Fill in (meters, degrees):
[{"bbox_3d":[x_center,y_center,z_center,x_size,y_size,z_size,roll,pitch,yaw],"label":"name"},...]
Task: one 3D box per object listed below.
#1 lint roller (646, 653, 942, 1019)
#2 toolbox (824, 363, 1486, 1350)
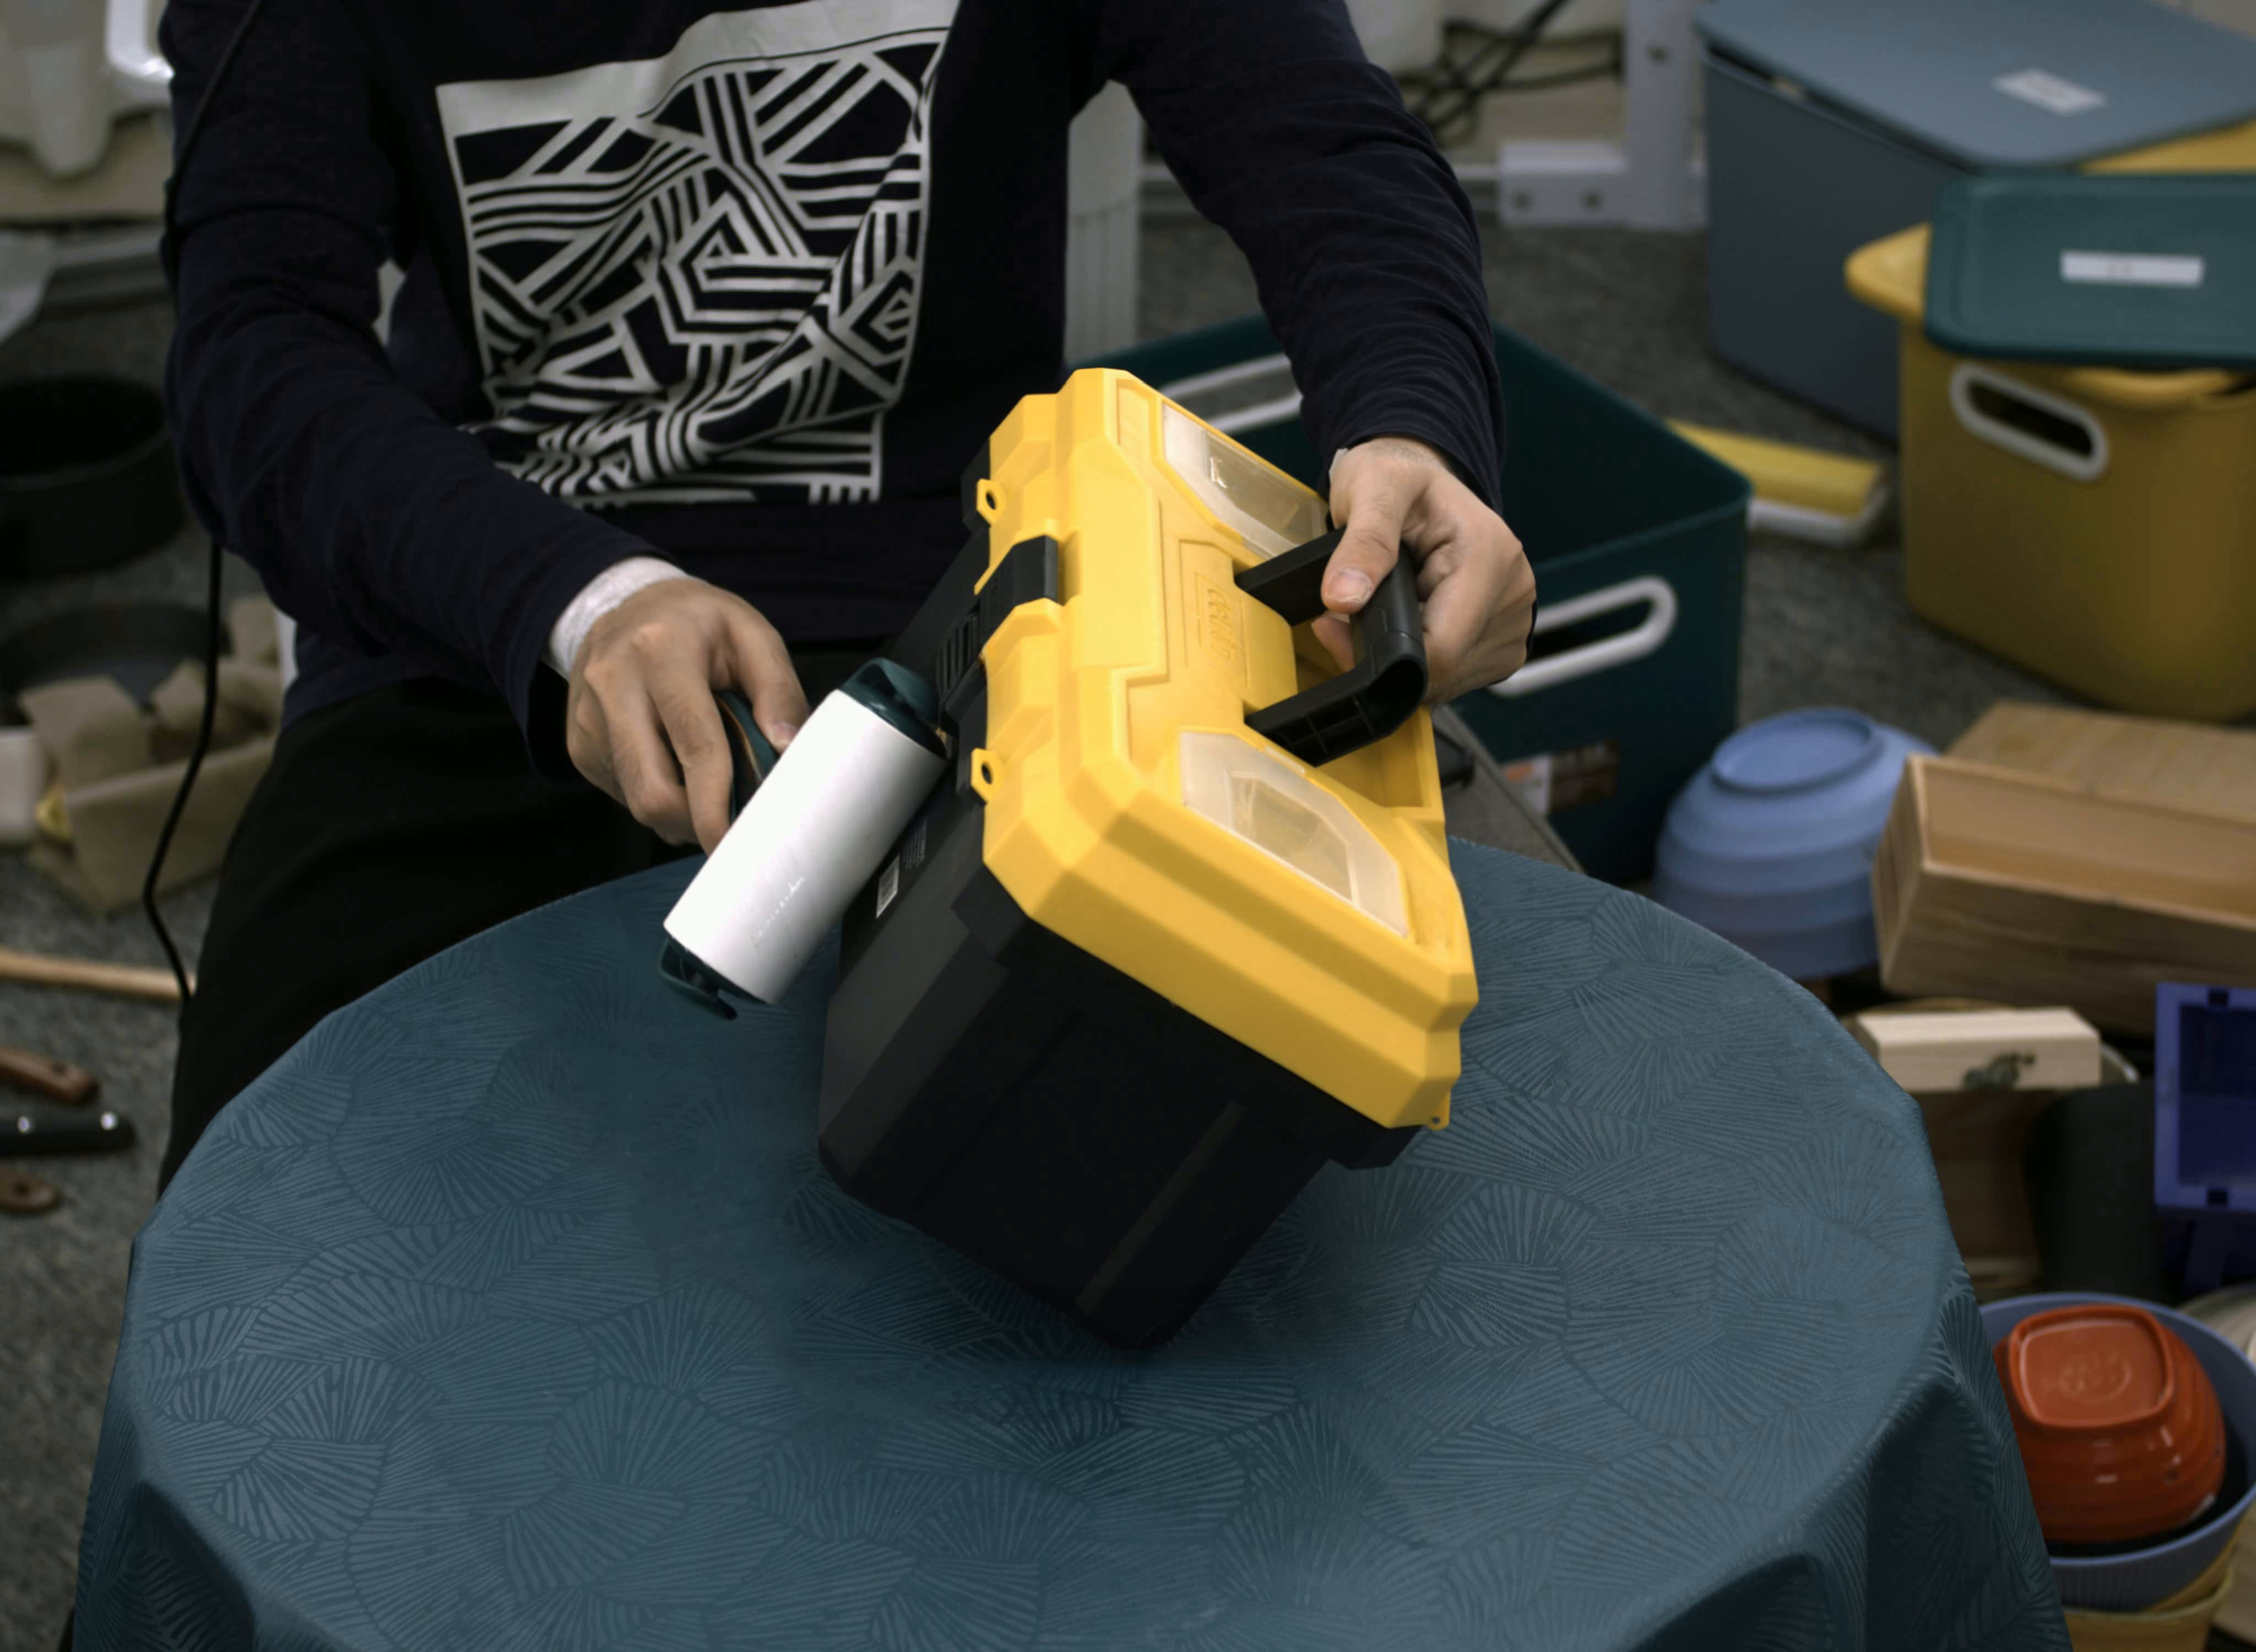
[{"bbox_3d":[-0.138,-0.020,1.912,0.048,0.134,0.181,35,2,-35],"label":"lint roller"},{"bbox_3d":[-0.001,0.004,1.861,0.180,0.171,0.356,32,22,-16],"label":"toolbox"}]
